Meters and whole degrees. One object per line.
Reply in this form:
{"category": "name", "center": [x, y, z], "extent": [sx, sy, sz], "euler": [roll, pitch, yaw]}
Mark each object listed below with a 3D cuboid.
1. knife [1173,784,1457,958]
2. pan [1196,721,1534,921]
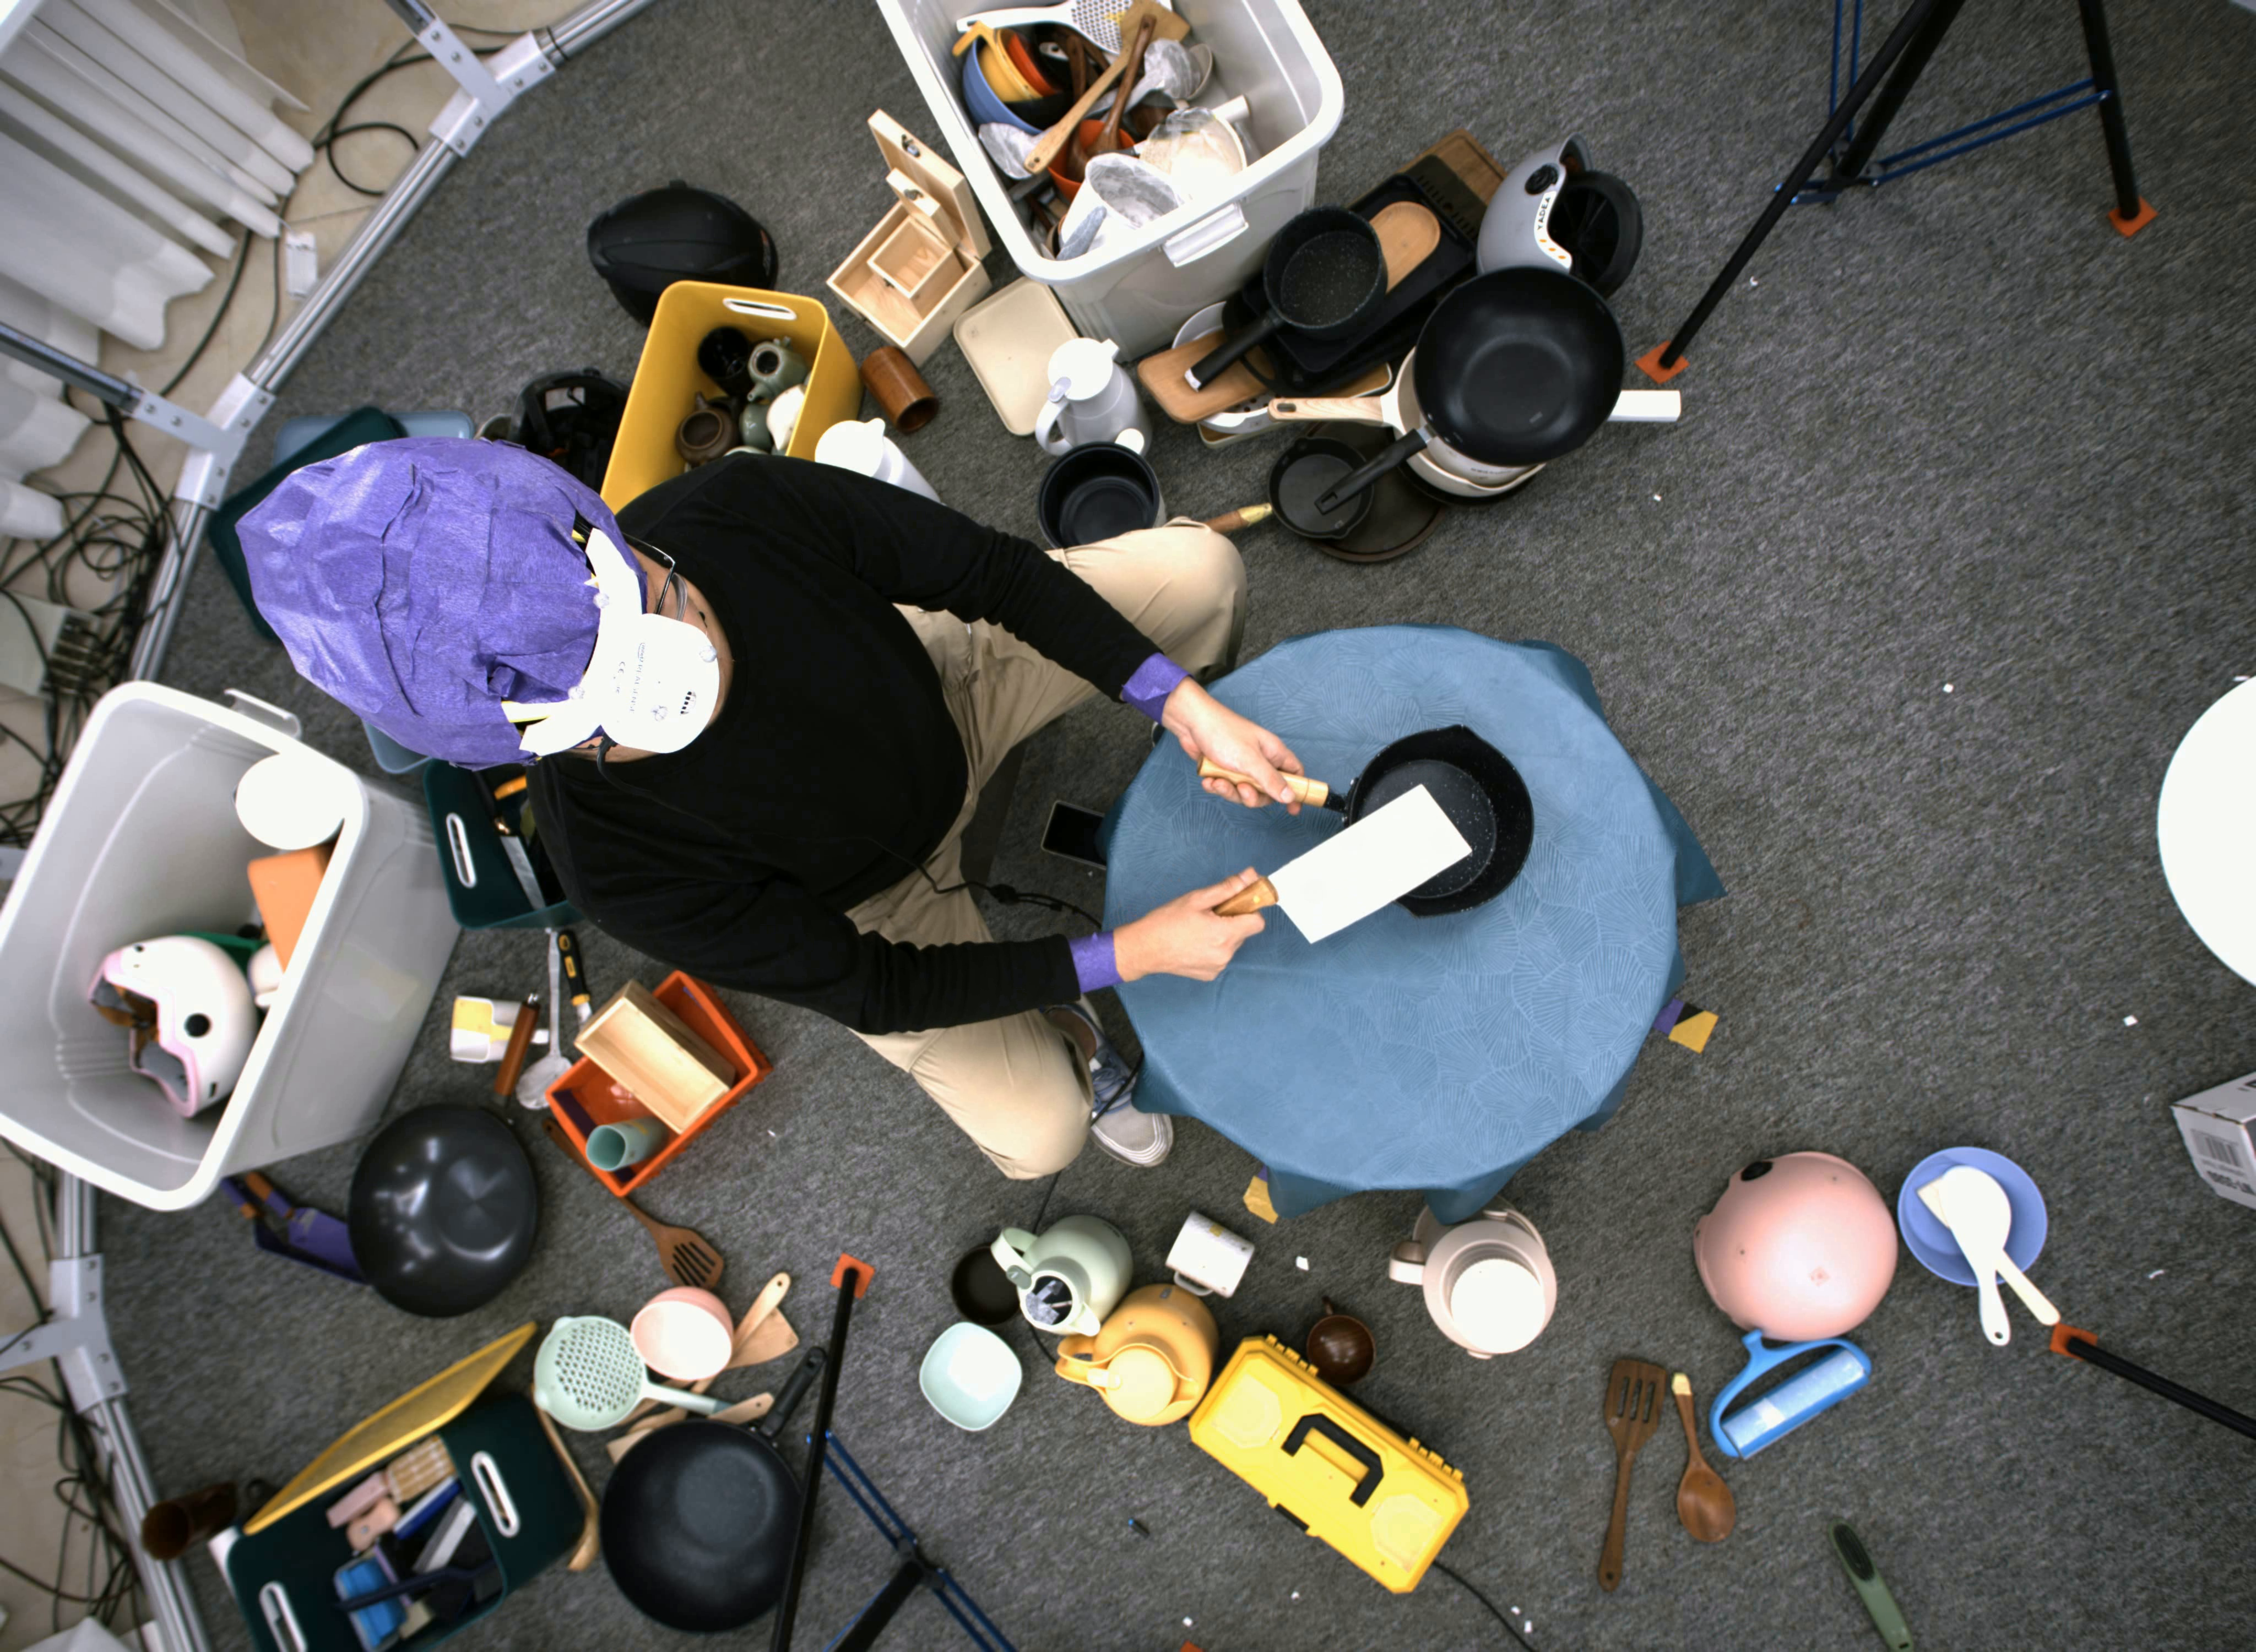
{"category": "knife", "center": [0.185, 0.064, 1.373], "extent": [0.311, 0.020, 0.094], "euler": [-33, 111, 26]}
{"category": "pan", "center": [0.234, -0.019, 1.399], "extent": [0.343, 0.108, 0.207], "euler": [12, 88, 2]}
